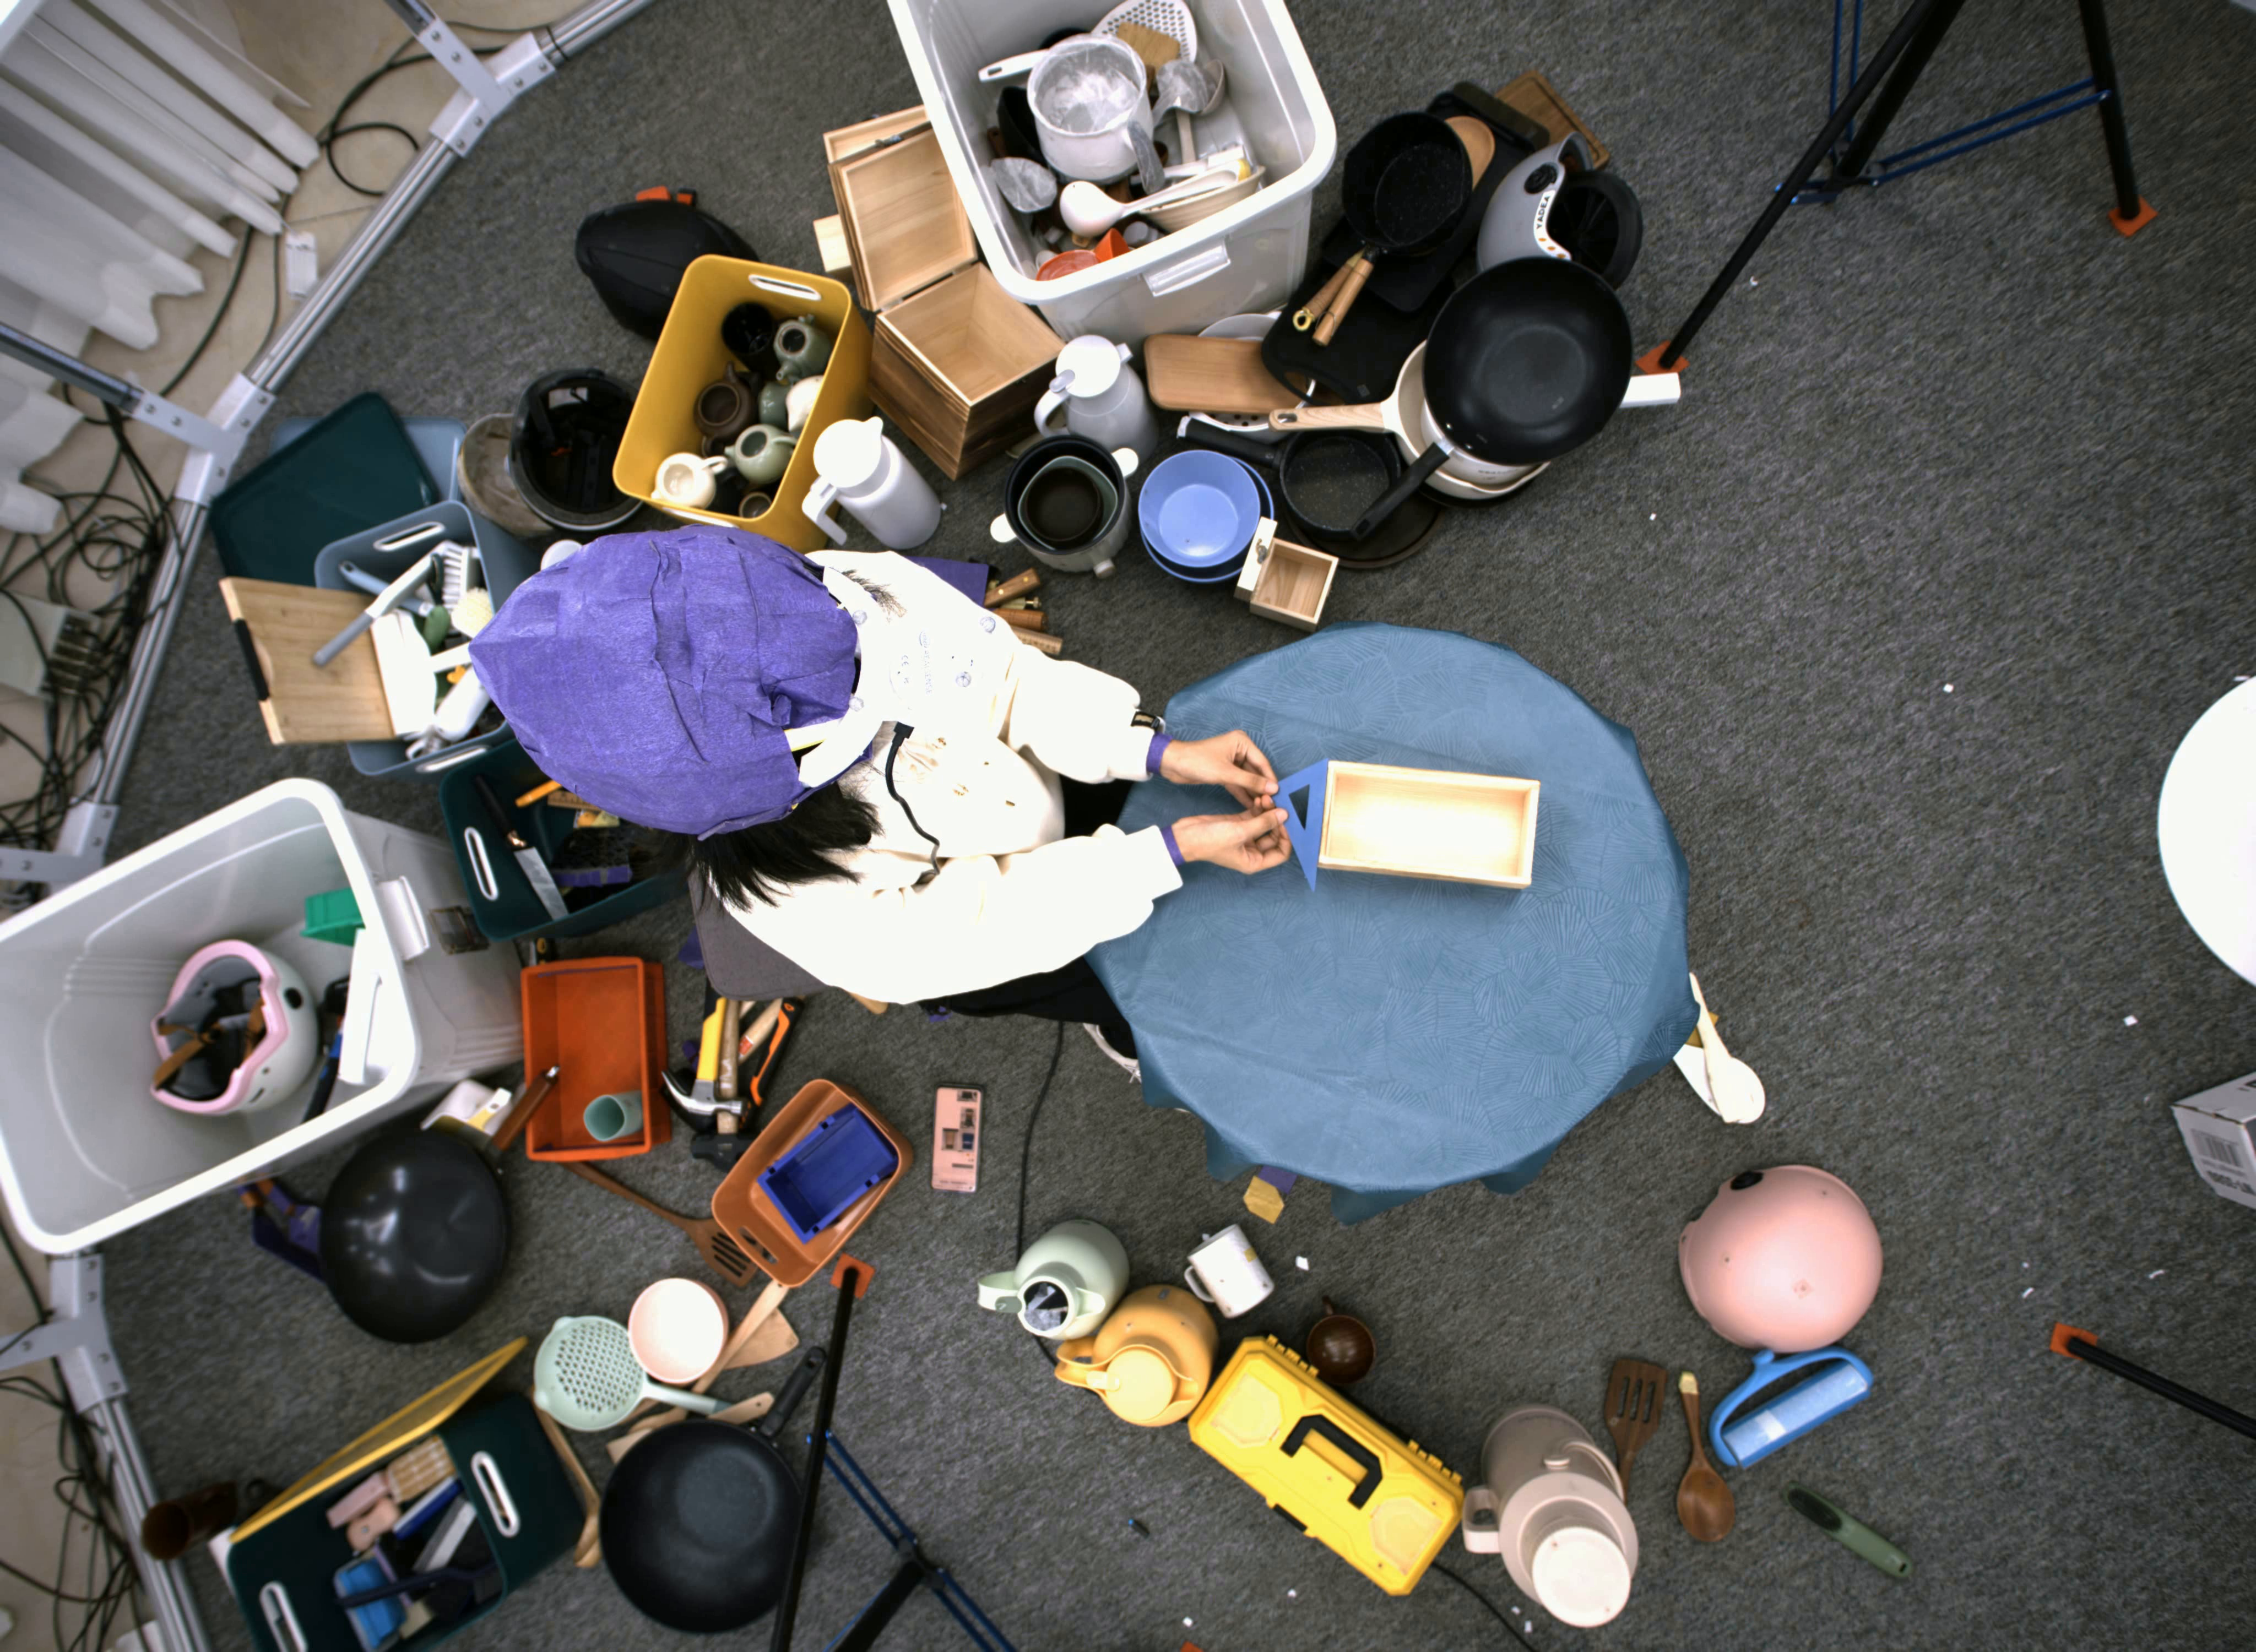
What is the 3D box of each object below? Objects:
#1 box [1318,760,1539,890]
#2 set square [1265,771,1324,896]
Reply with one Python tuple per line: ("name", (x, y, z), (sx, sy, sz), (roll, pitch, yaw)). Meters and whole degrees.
("box", (0.306, -0.002, 1.417), (0.212, 0.080, 0.107), (5, 86, 10))
("set square", (0.163, 0.004, 1.417), (0.061, 0.006, 0.132), (11, 91, 22))
